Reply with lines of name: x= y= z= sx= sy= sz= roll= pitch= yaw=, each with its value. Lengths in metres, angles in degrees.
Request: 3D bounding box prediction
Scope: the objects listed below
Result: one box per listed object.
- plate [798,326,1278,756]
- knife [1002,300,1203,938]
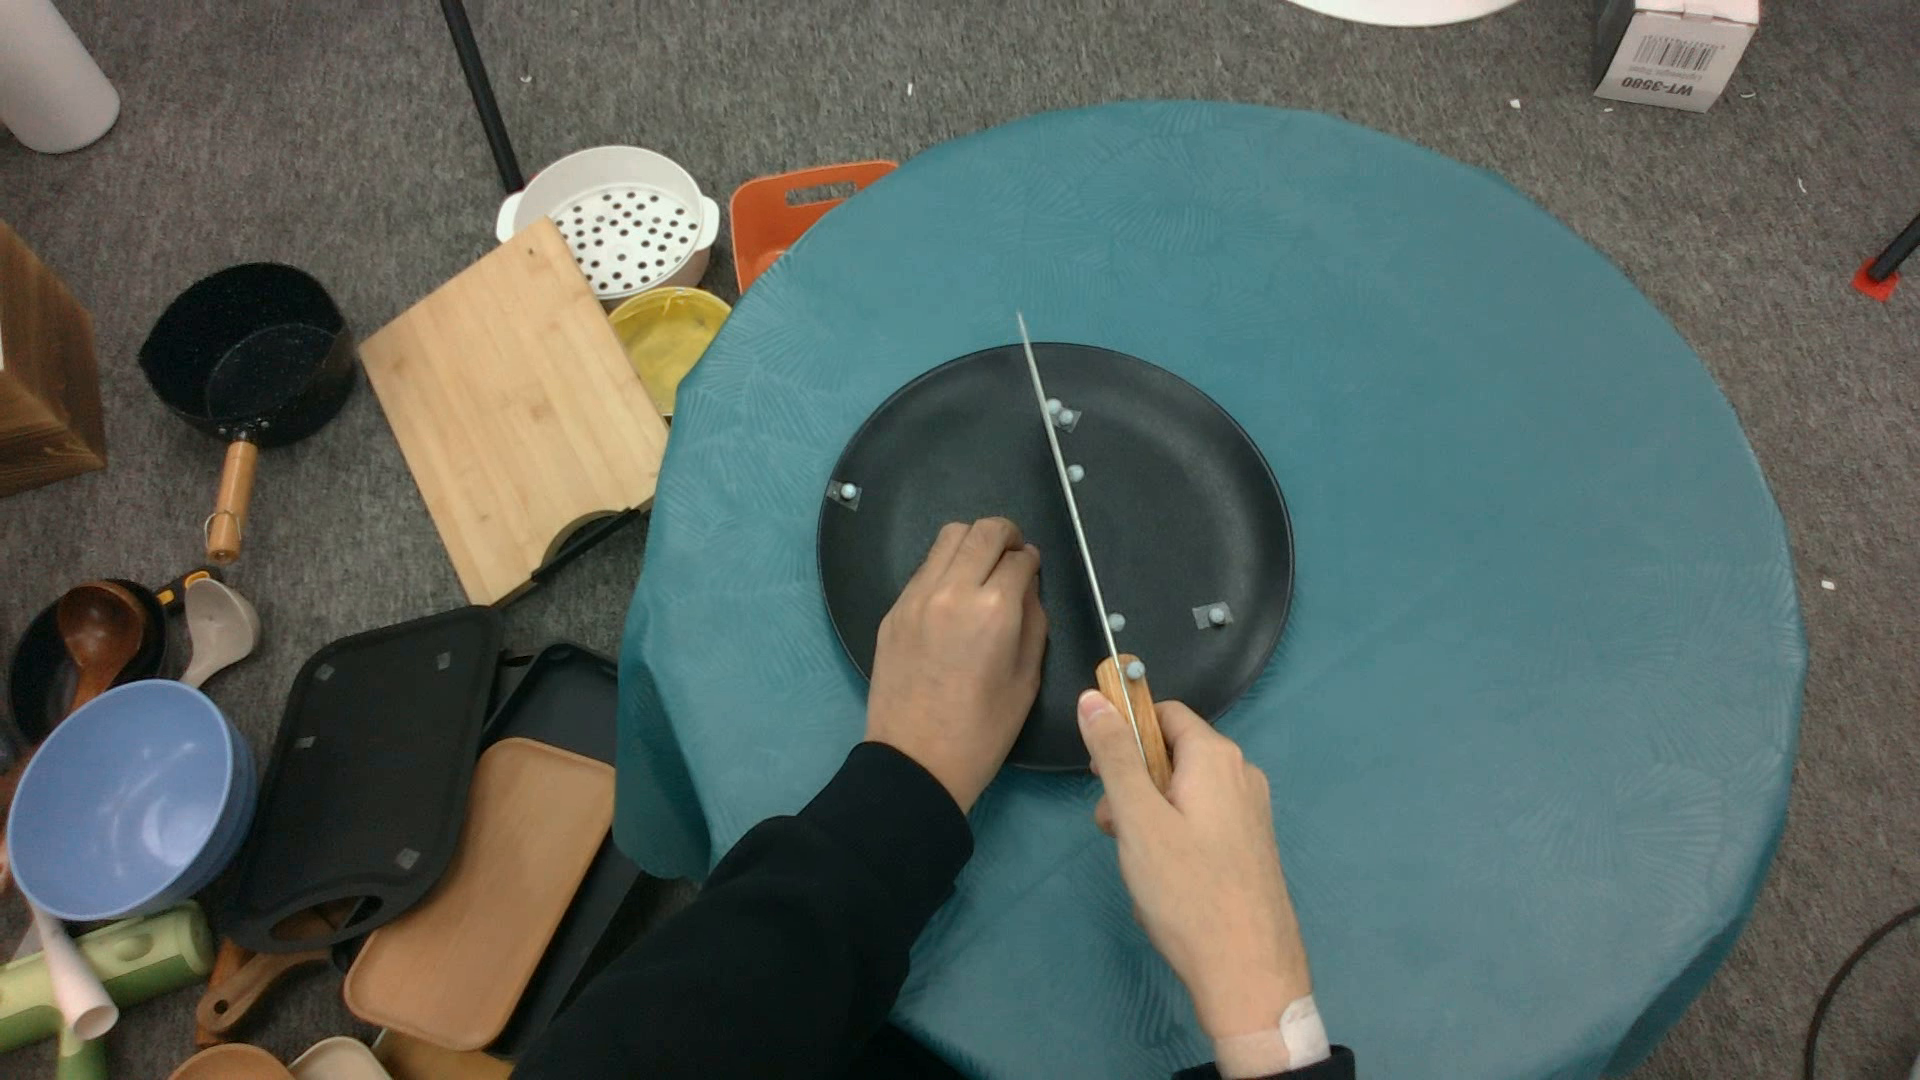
plate: x=0.040 y=-0.004 z=0.705 sx=0.244 sy=0.023 sz=0.245 roll=1 pitch=63 yaw=-1
knife: x=0.059 y=0.032 z=0.630 sx=0.021 sy=0.092 sz=0.306 roll=-15 pitch=64 yaw=4
